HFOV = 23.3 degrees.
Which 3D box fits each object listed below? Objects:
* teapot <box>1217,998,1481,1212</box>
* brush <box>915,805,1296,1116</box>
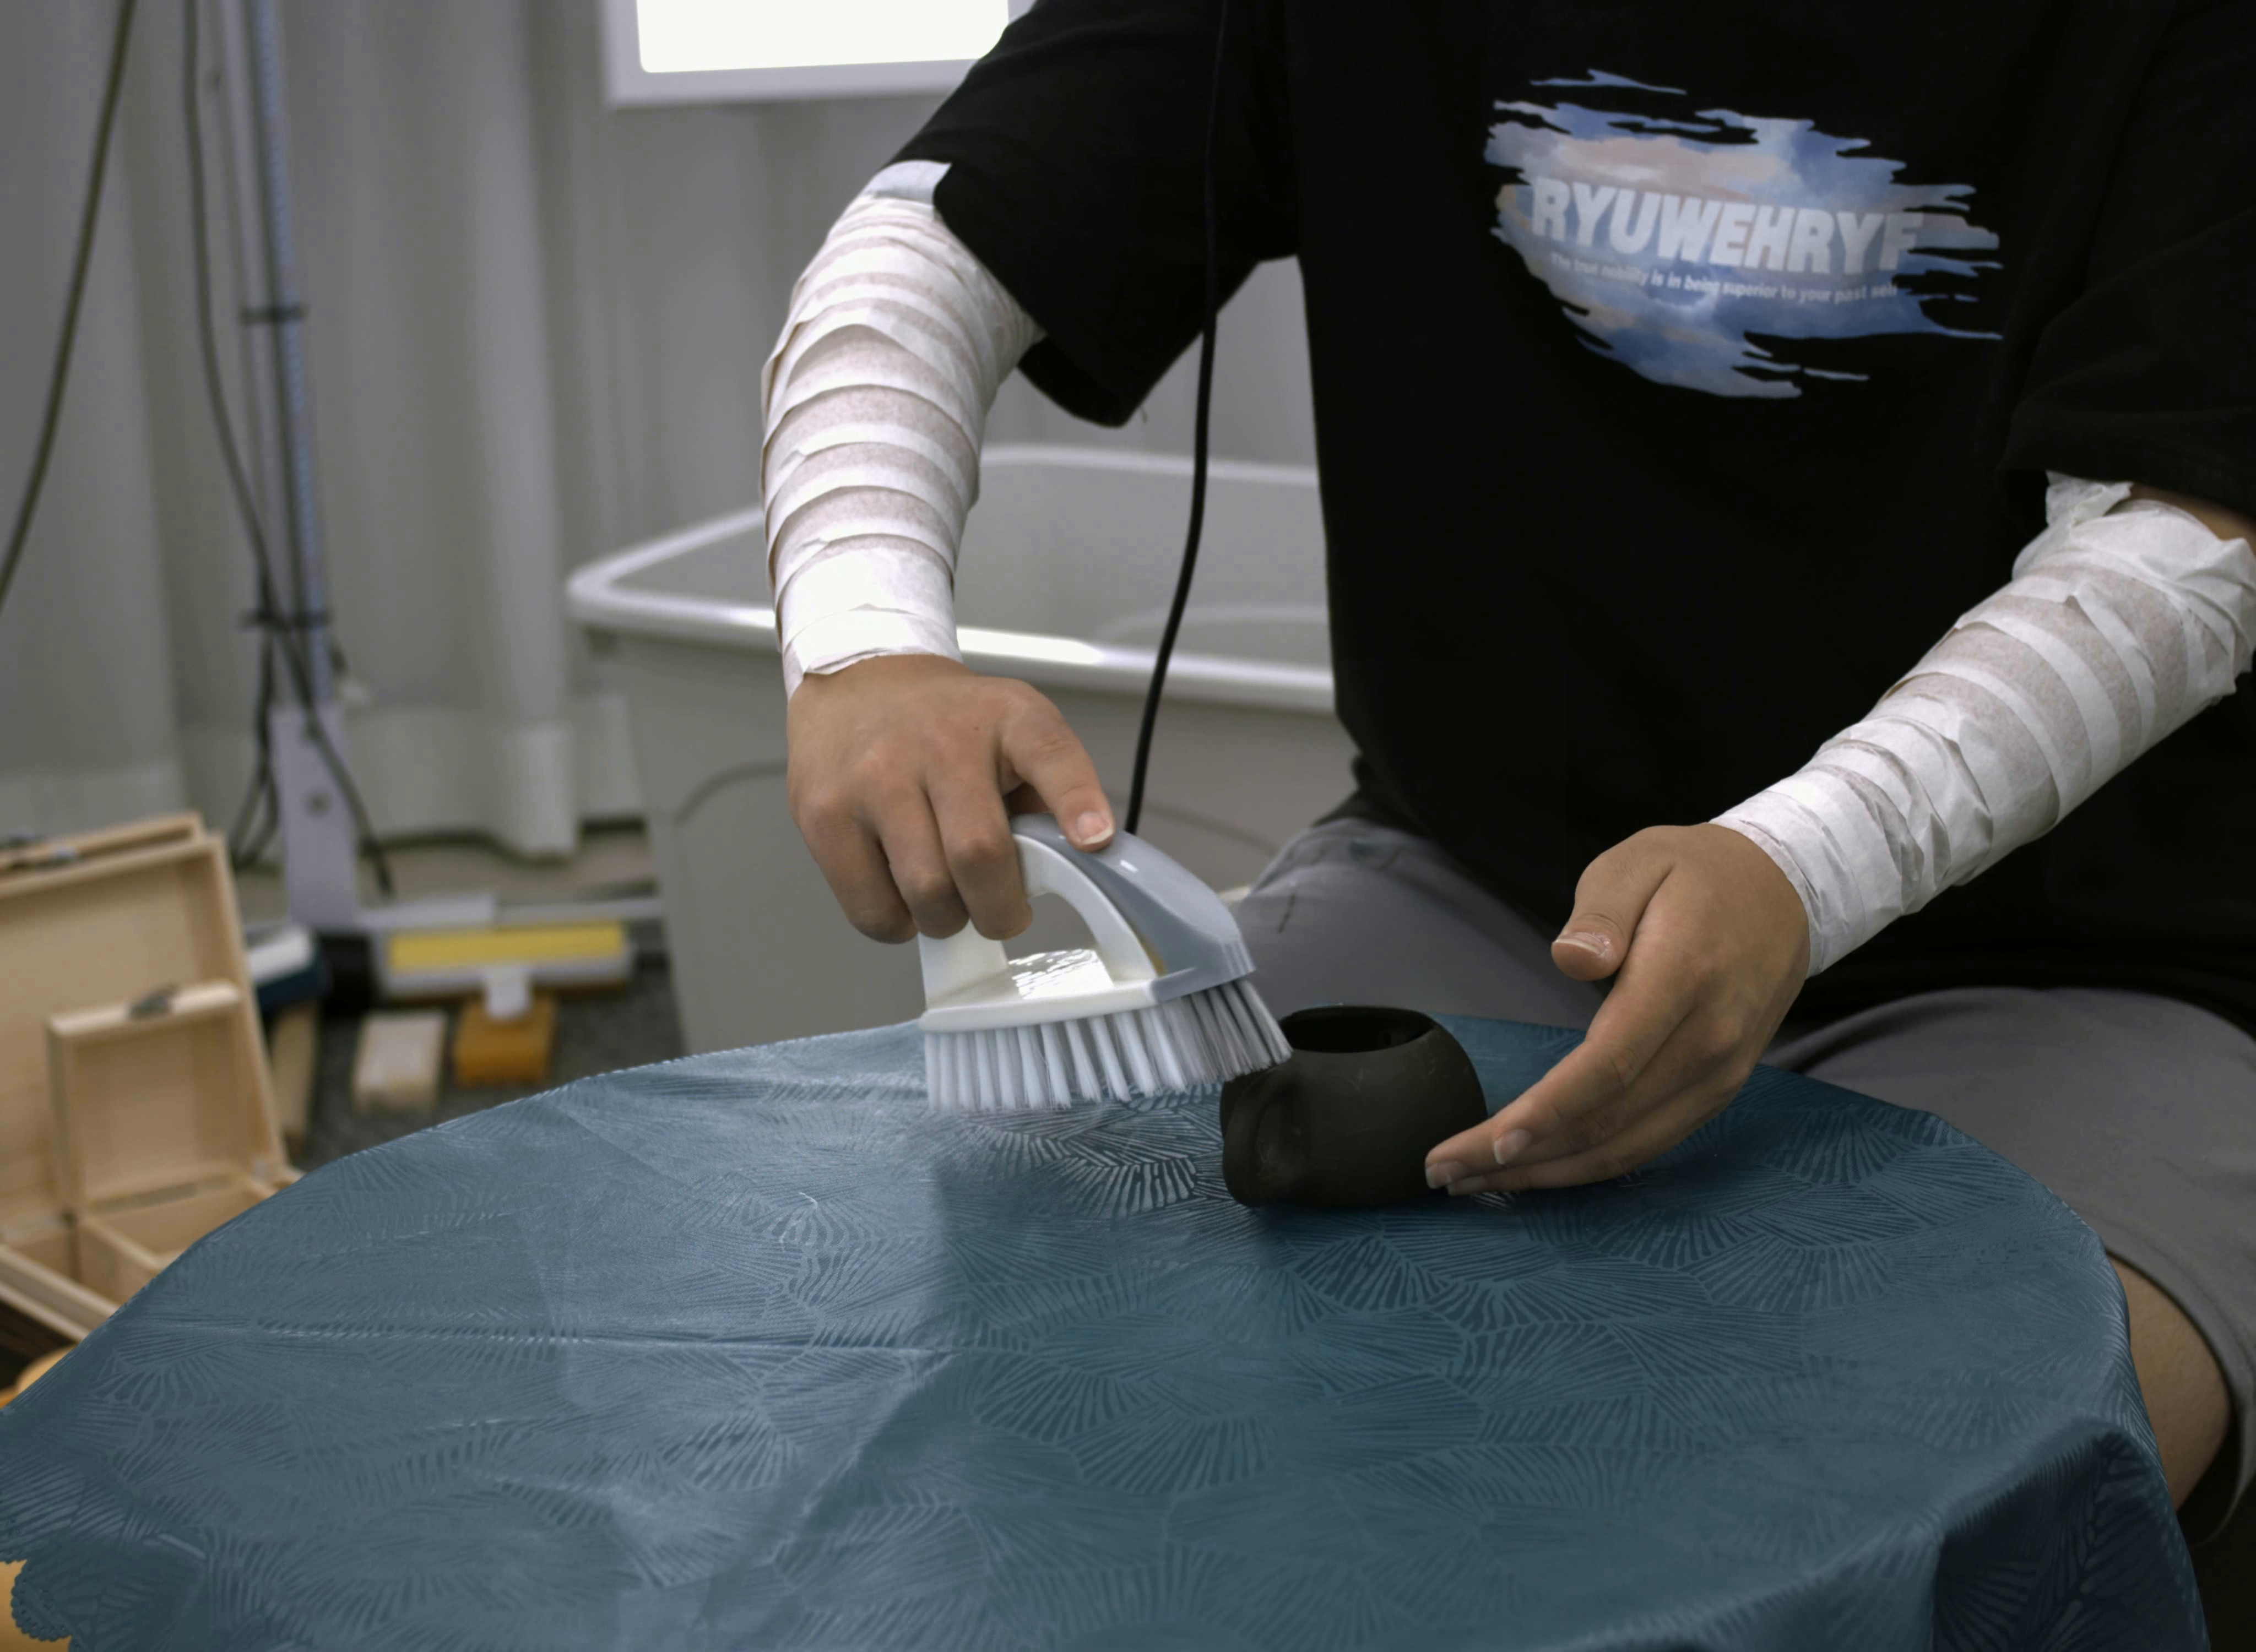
[{"bbox_3d":[0.062,0.090,1.698,0.083,0.053,0.114,7,15,35],"label":"teapot"},{"bbox_3d":[-0.012,0.037,1.714,0.061,0.094,0.176,-27,12,-30],"label":"brush"}]
